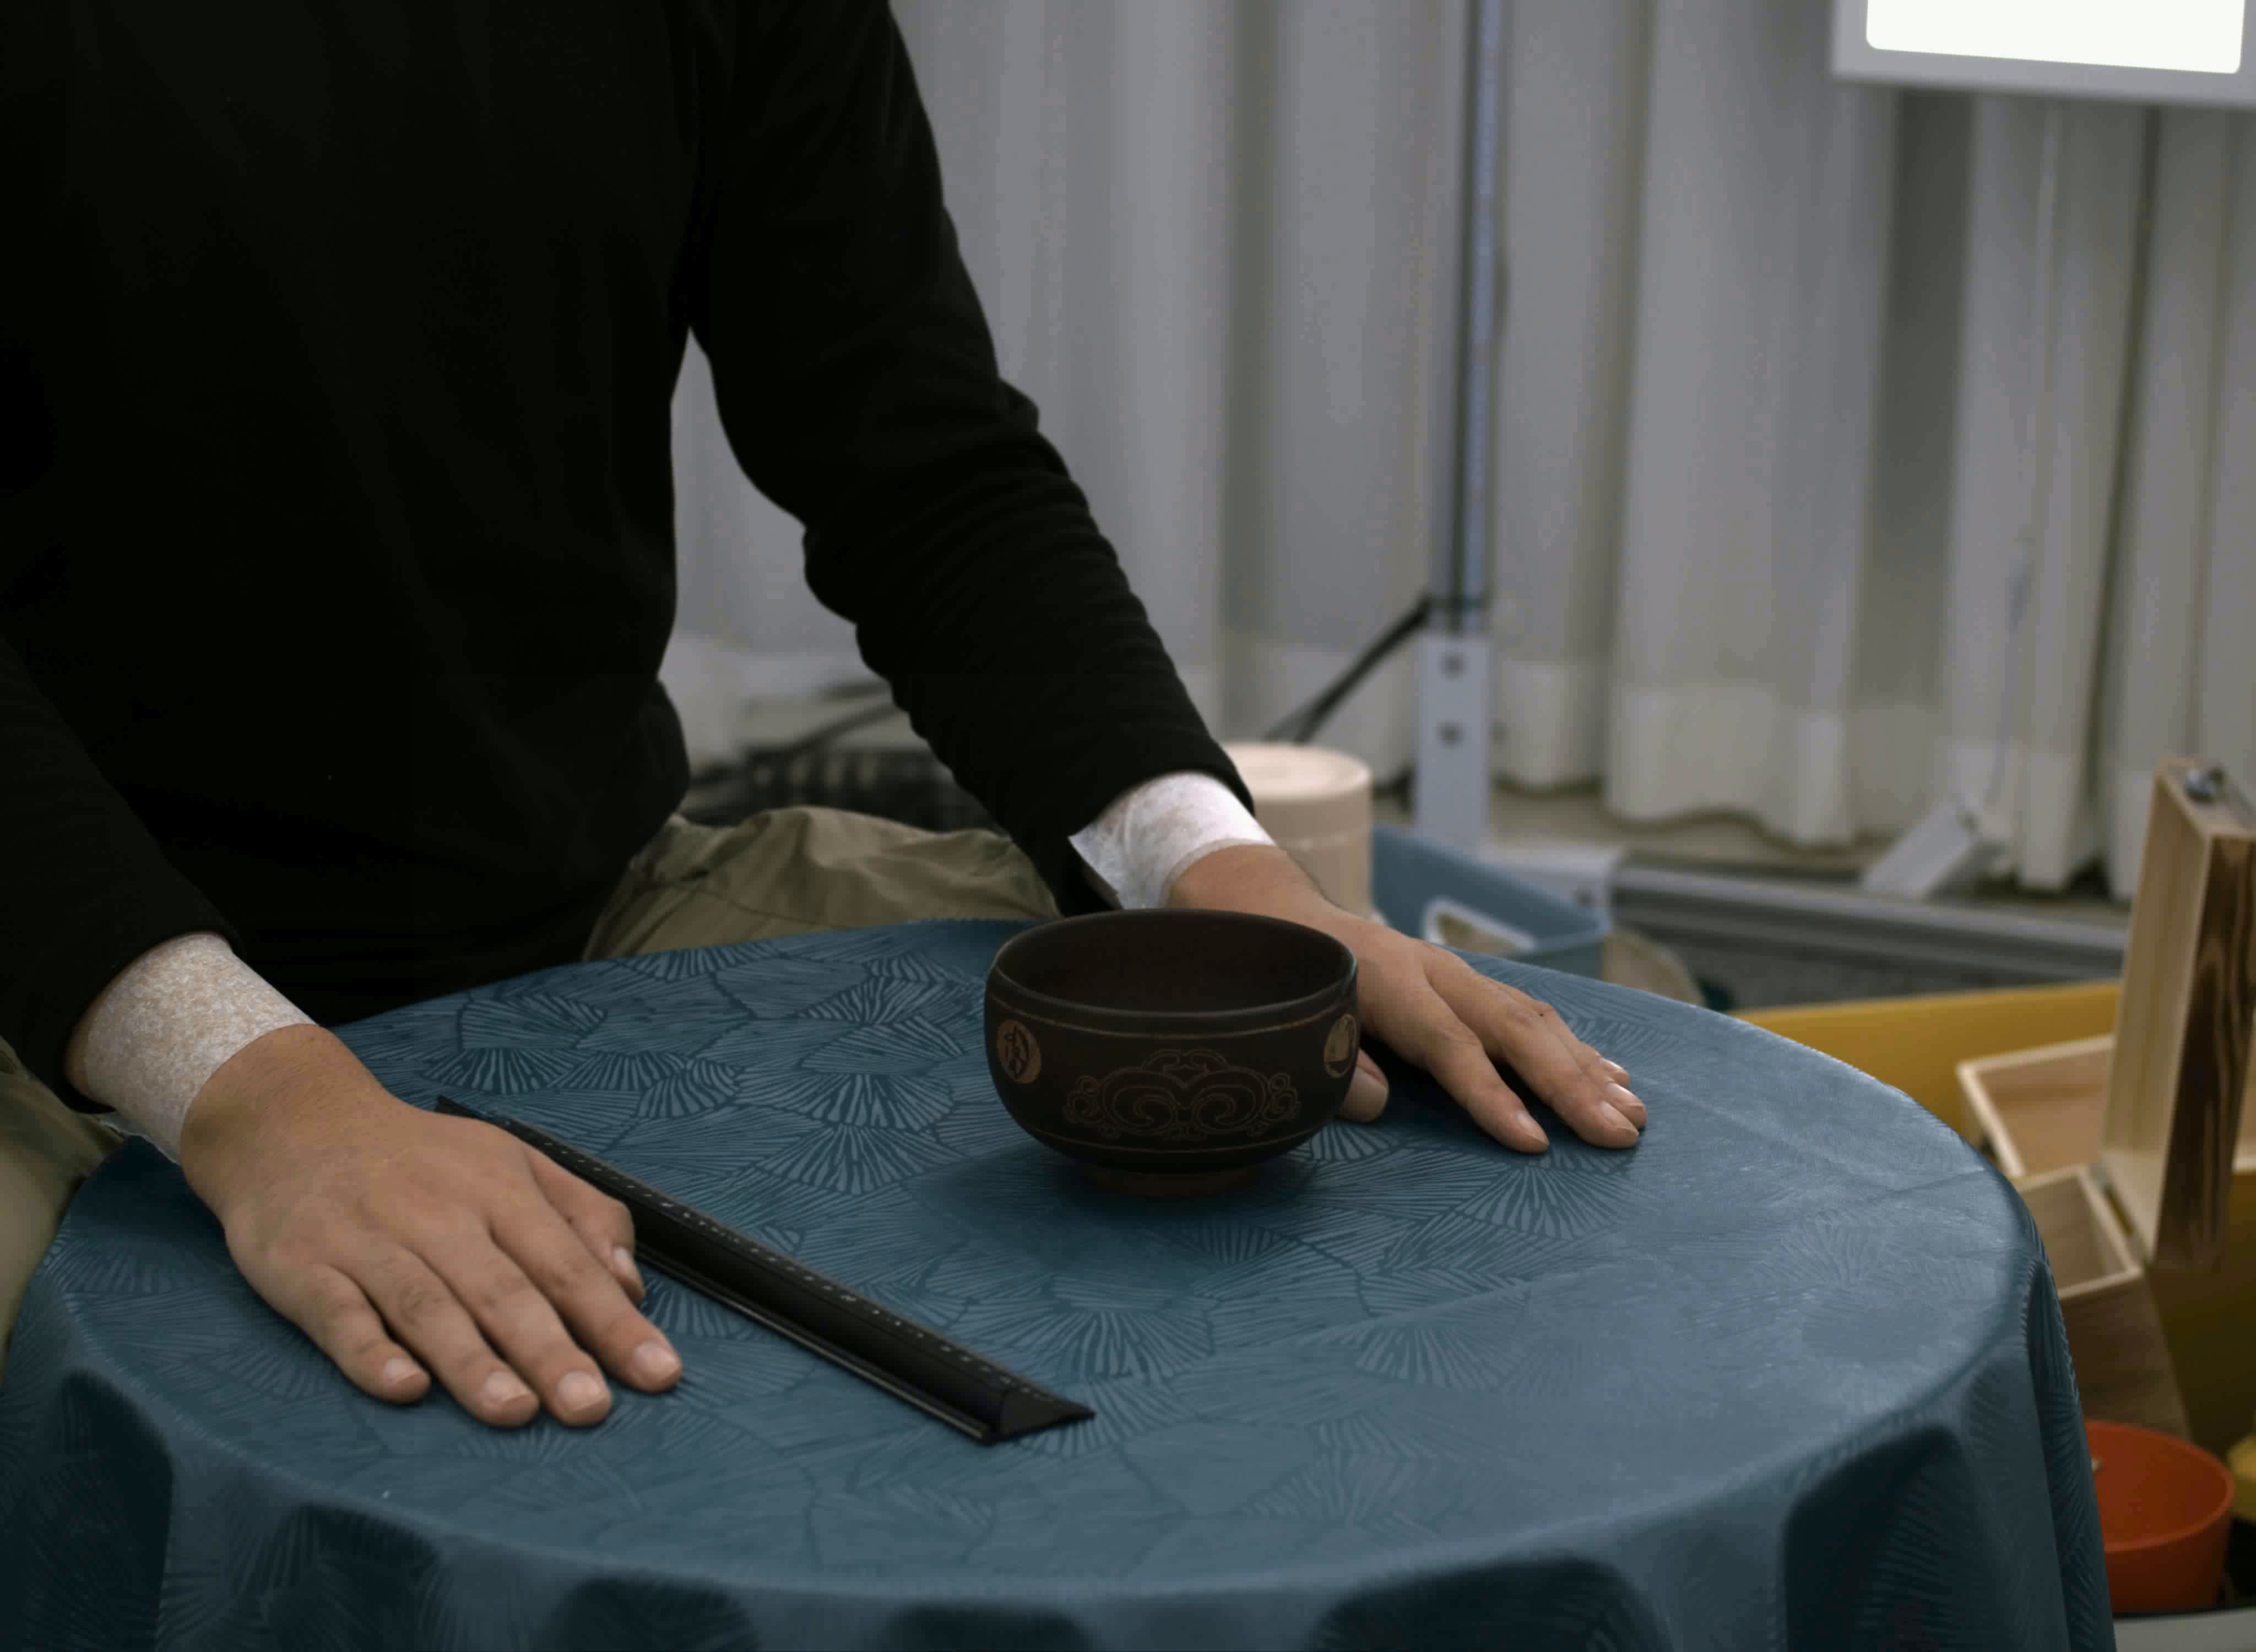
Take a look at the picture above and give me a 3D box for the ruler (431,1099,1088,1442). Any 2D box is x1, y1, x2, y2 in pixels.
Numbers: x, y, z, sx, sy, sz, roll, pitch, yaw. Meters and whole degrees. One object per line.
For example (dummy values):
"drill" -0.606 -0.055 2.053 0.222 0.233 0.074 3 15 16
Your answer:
"ruler" -0.114 0.124 1.546 0.039 0.017 0.308 -6 16 -36

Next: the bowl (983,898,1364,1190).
"bowl" 0.014 0.071 1.631 0.117 0.070 0.117 1 16 0
